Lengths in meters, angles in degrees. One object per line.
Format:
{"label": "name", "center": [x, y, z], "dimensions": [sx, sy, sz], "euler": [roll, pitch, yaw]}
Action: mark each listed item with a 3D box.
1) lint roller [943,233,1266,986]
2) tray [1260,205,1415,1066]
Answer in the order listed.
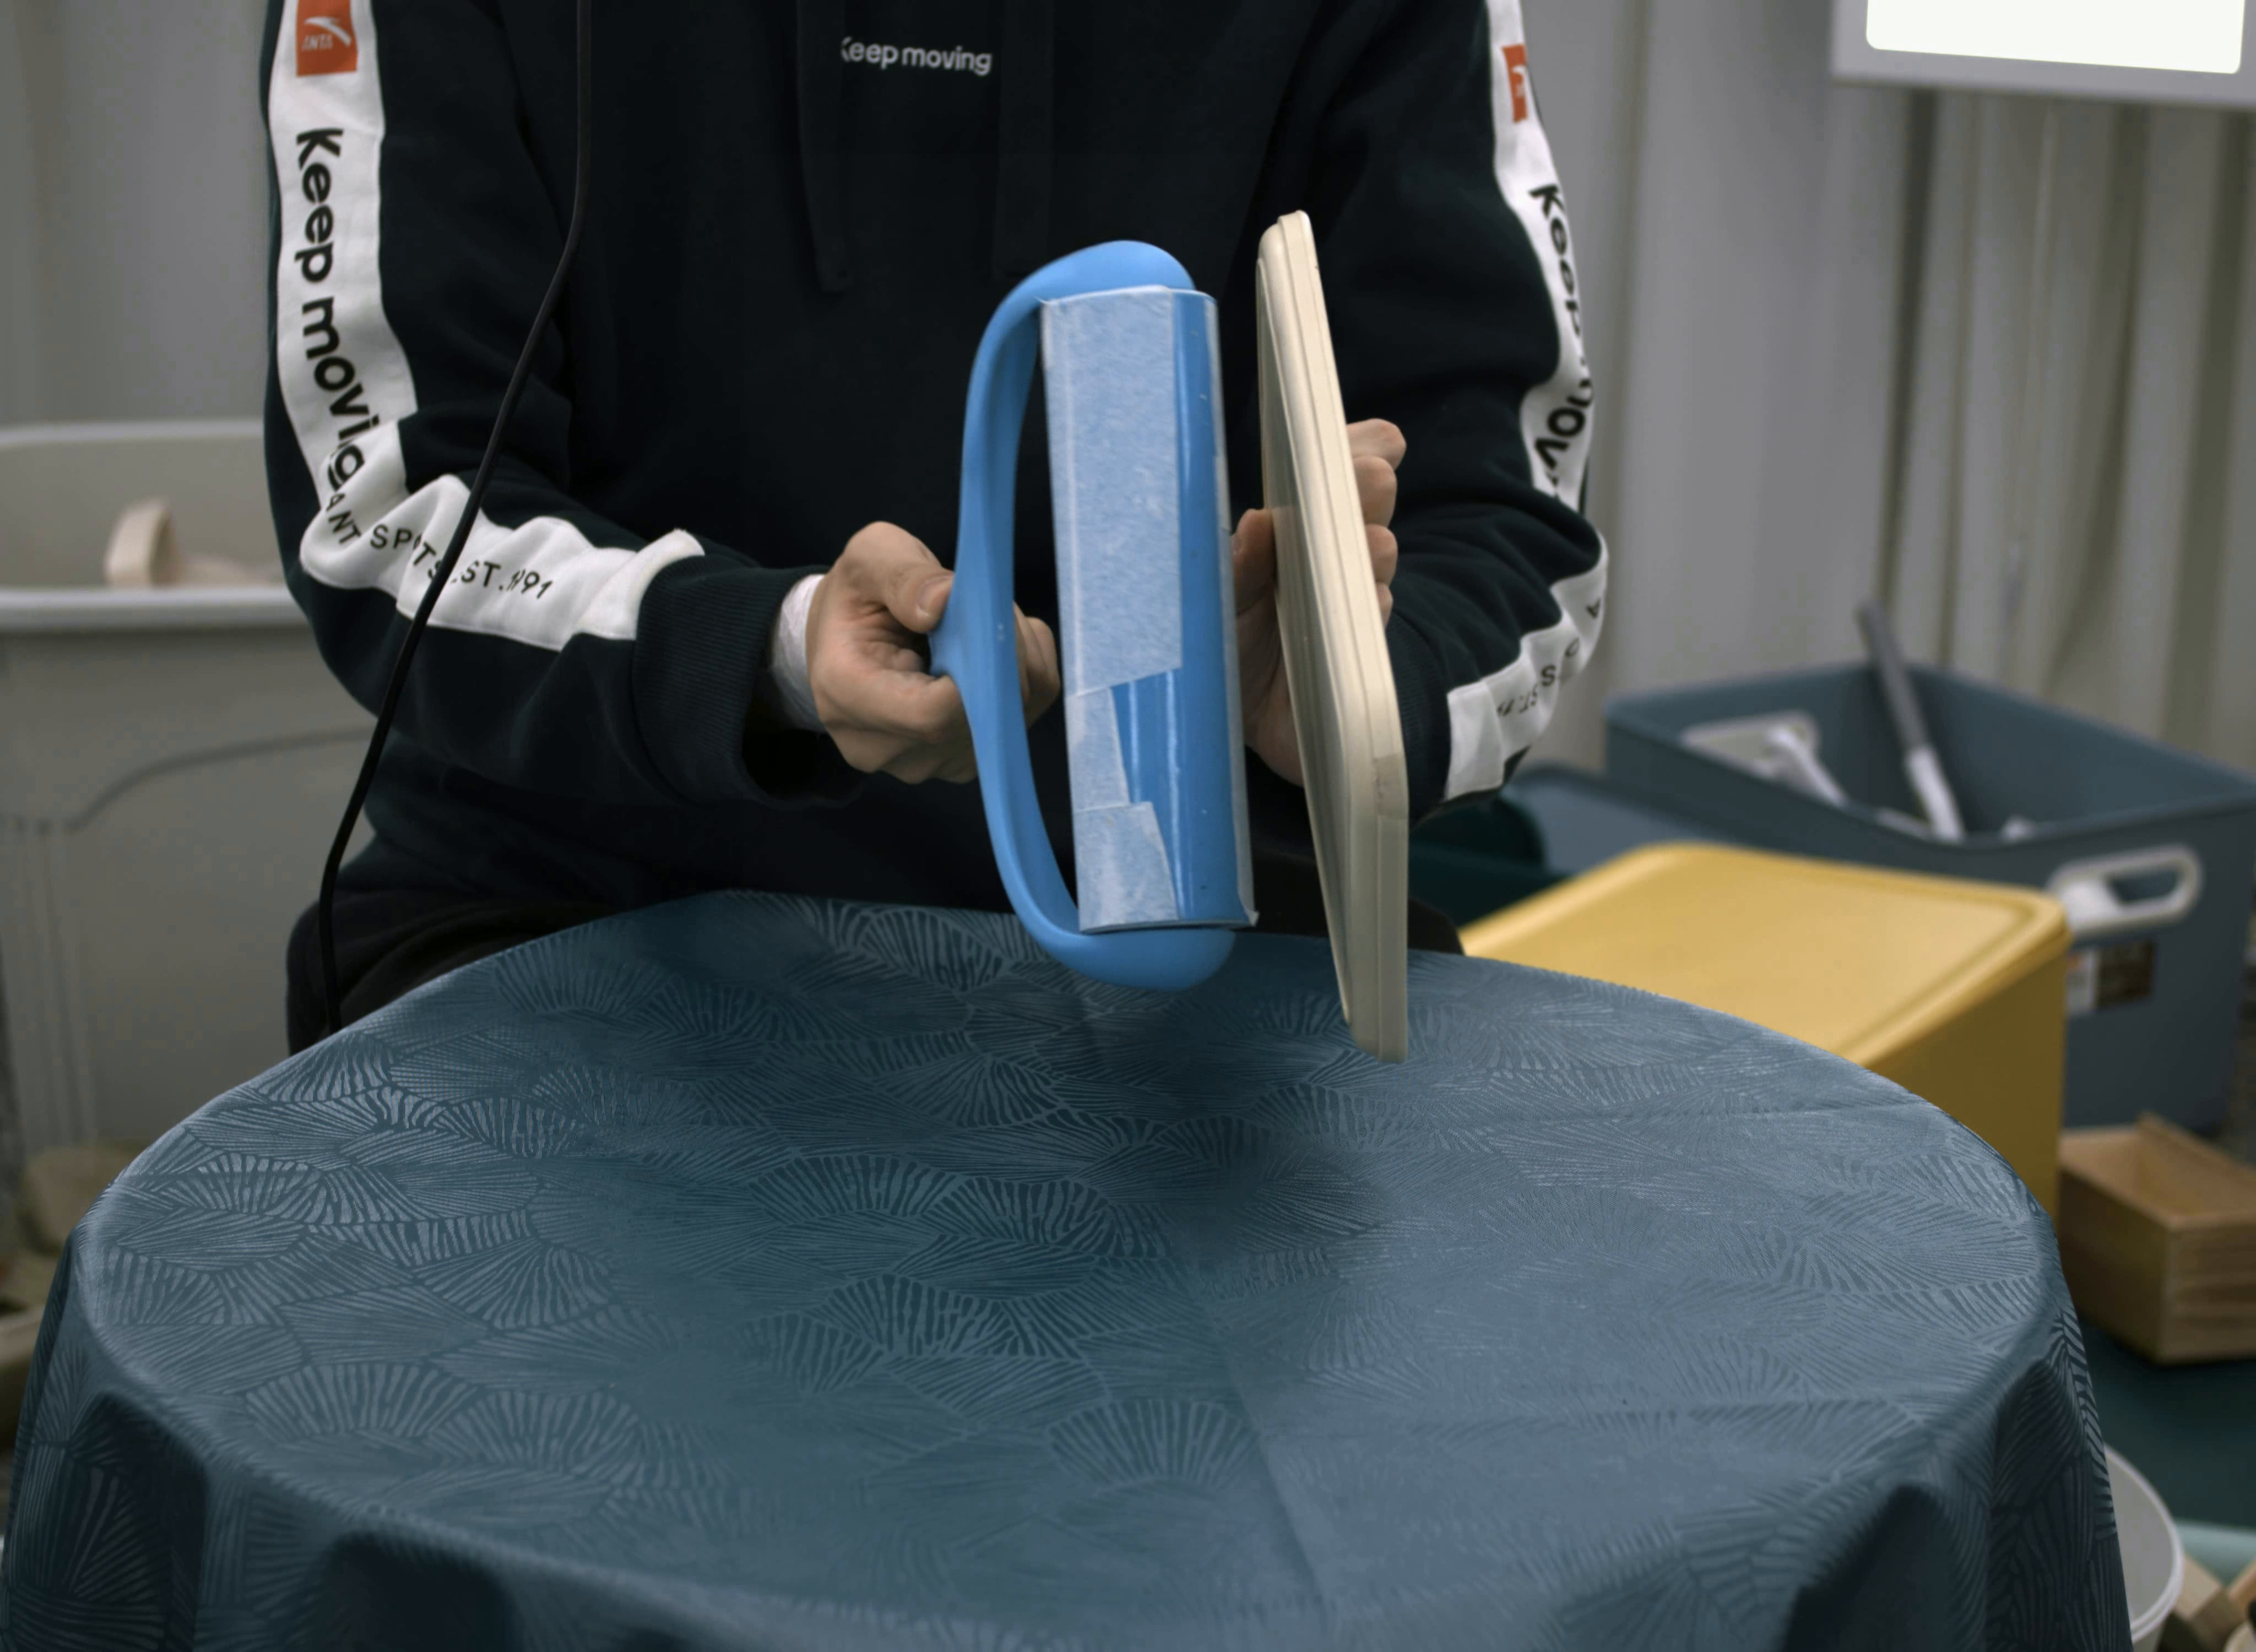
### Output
{"label": "lint roller", "center": [-0.023, -0.057, 1.643], "dimensions": [0.068, 0.229, 0.179], "euler": [-3, -7, -32]}
{"label": "tray", "center": [0.062, -0.059, 1.617], "dimensions": [0.017, 0.173, 0.237], "euler": [-6, 52, -3]}
